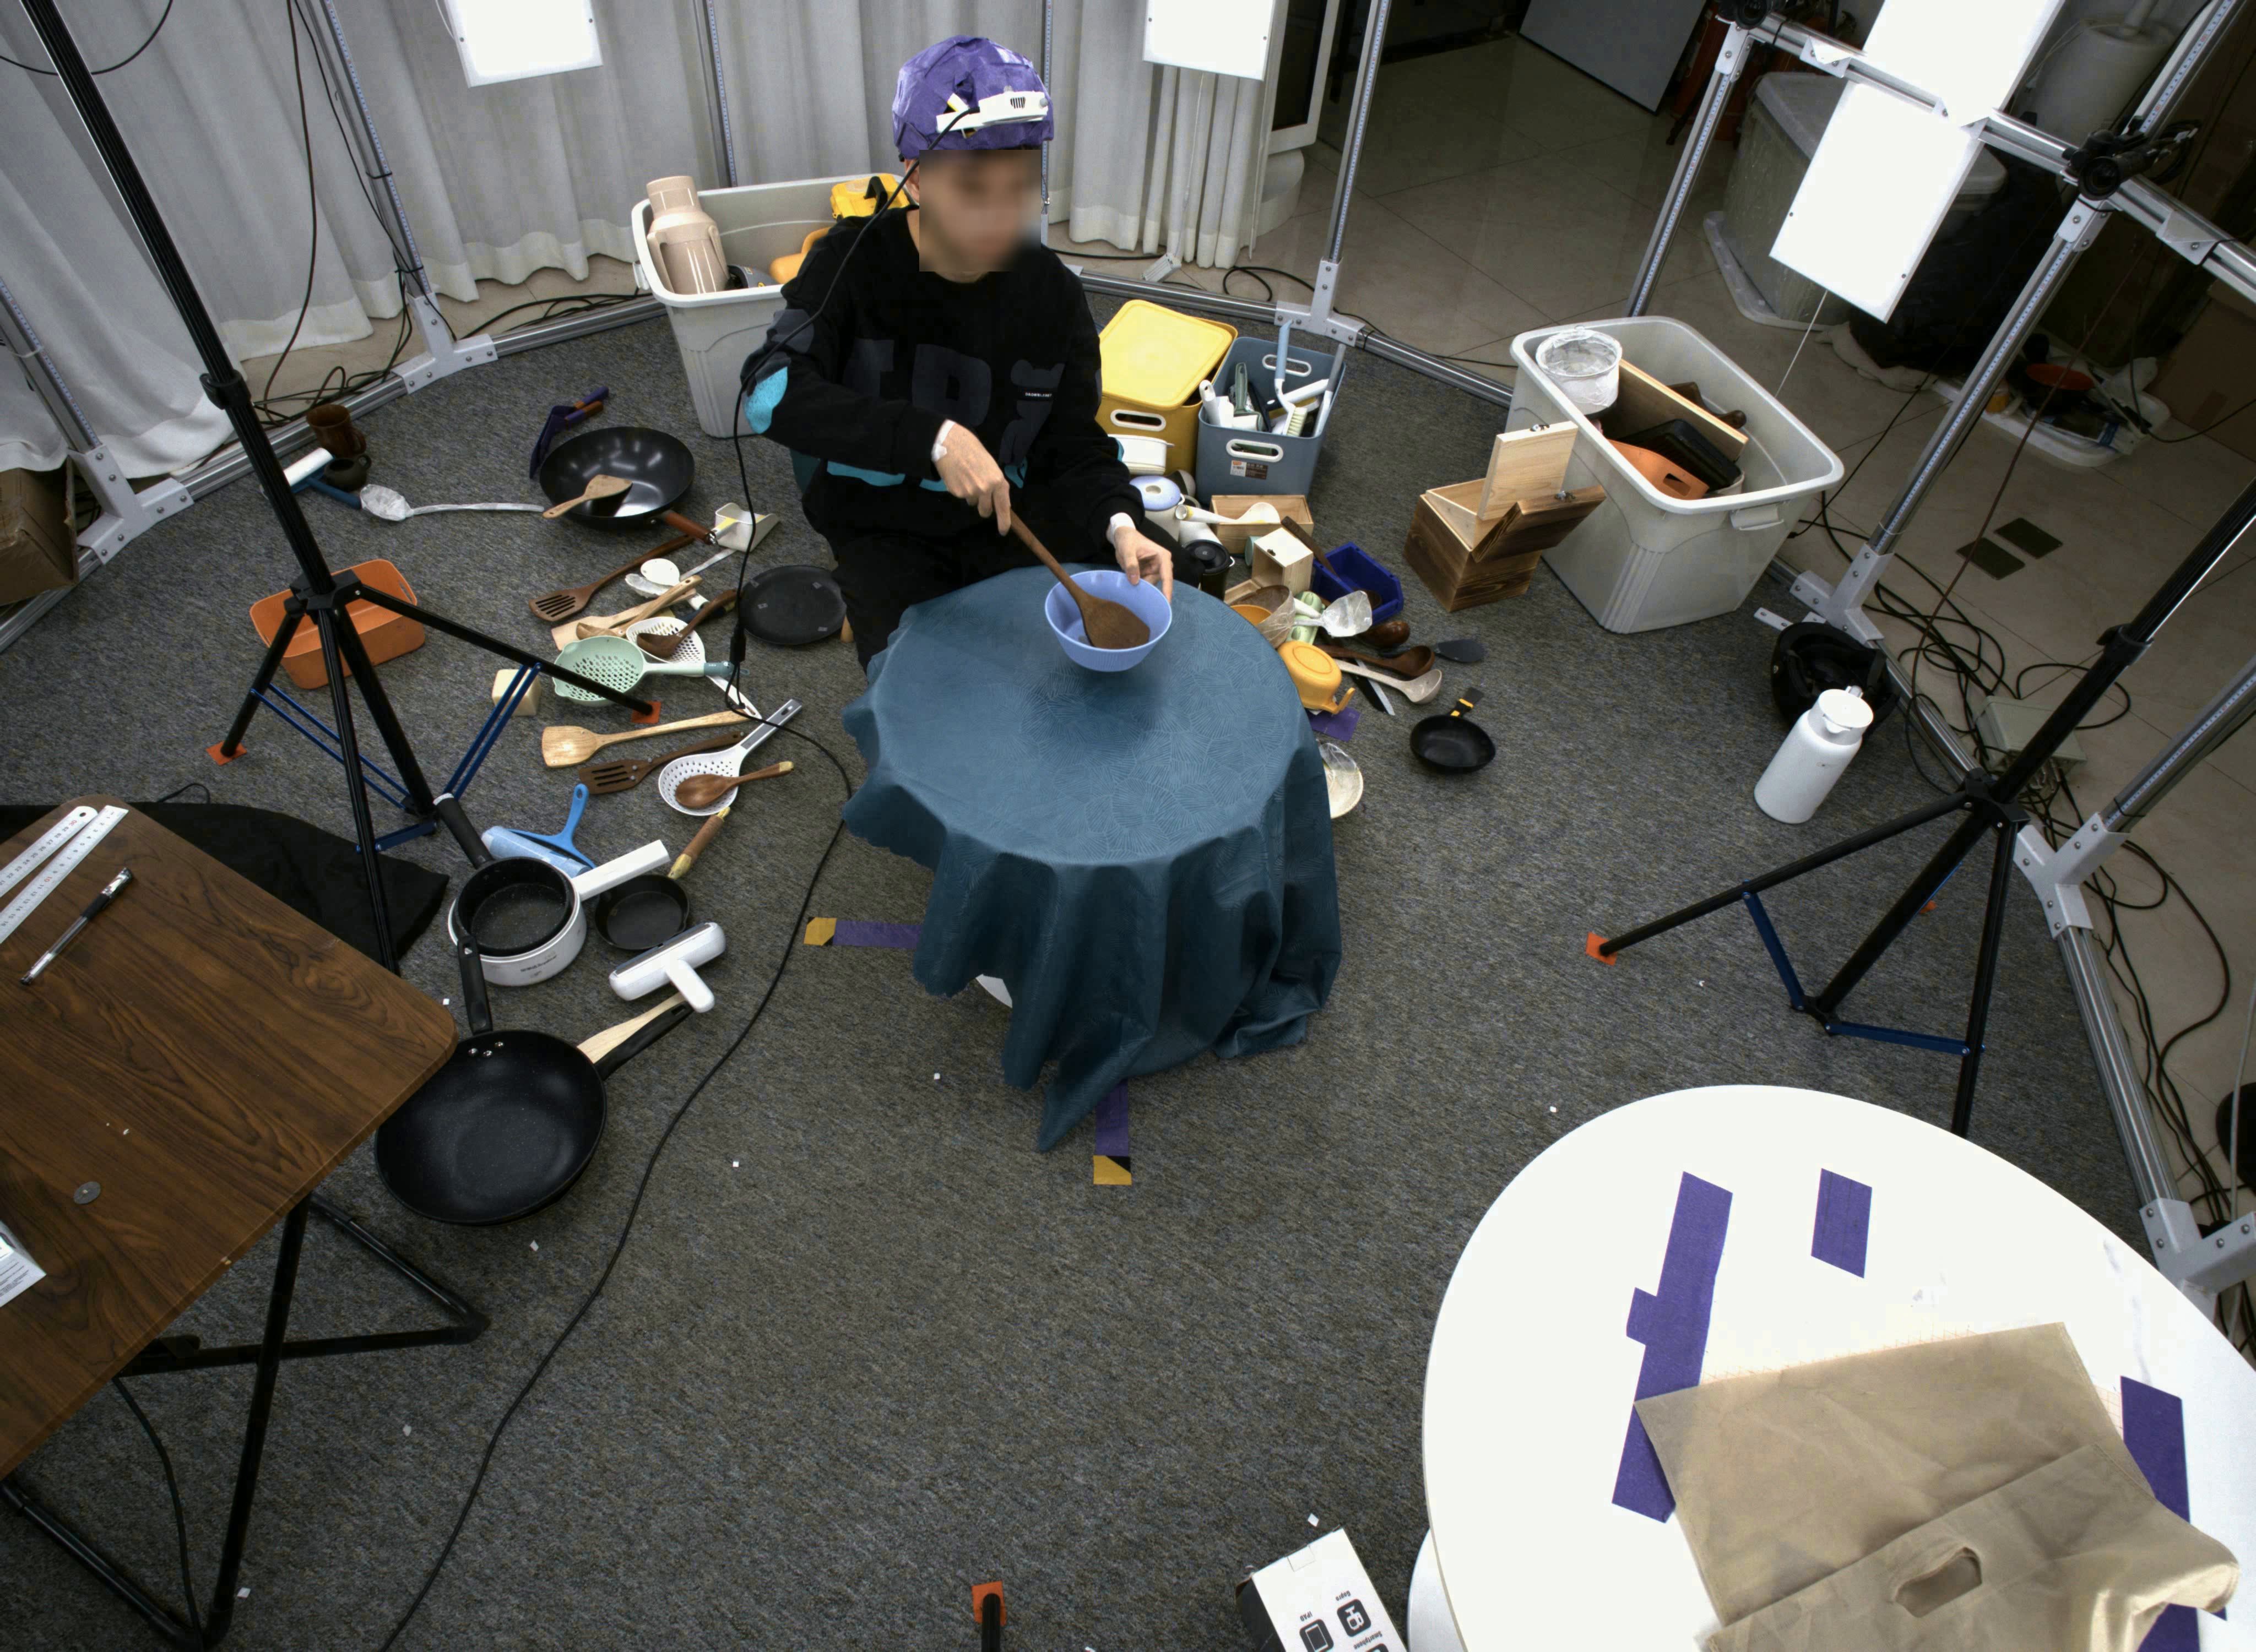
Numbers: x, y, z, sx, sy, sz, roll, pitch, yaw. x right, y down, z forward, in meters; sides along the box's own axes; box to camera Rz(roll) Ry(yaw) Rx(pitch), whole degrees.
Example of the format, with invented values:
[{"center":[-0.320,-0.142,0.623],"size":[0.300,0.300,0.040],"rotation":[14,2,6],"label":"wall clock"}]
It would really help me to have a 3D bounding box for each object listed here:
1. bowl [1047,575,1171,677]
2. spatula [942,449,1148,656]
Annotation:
[{"center":[-0.027,-0.275,1.822],"size":[0.176,0.068,0.180],"rotation":[1,49,-1],"label":"bowl"},{"center":[-0.117,-0.375,1.790],"size":[0.382,0.015,0.097],"rotation":[46,56,-13],"label":"spatula"}]
